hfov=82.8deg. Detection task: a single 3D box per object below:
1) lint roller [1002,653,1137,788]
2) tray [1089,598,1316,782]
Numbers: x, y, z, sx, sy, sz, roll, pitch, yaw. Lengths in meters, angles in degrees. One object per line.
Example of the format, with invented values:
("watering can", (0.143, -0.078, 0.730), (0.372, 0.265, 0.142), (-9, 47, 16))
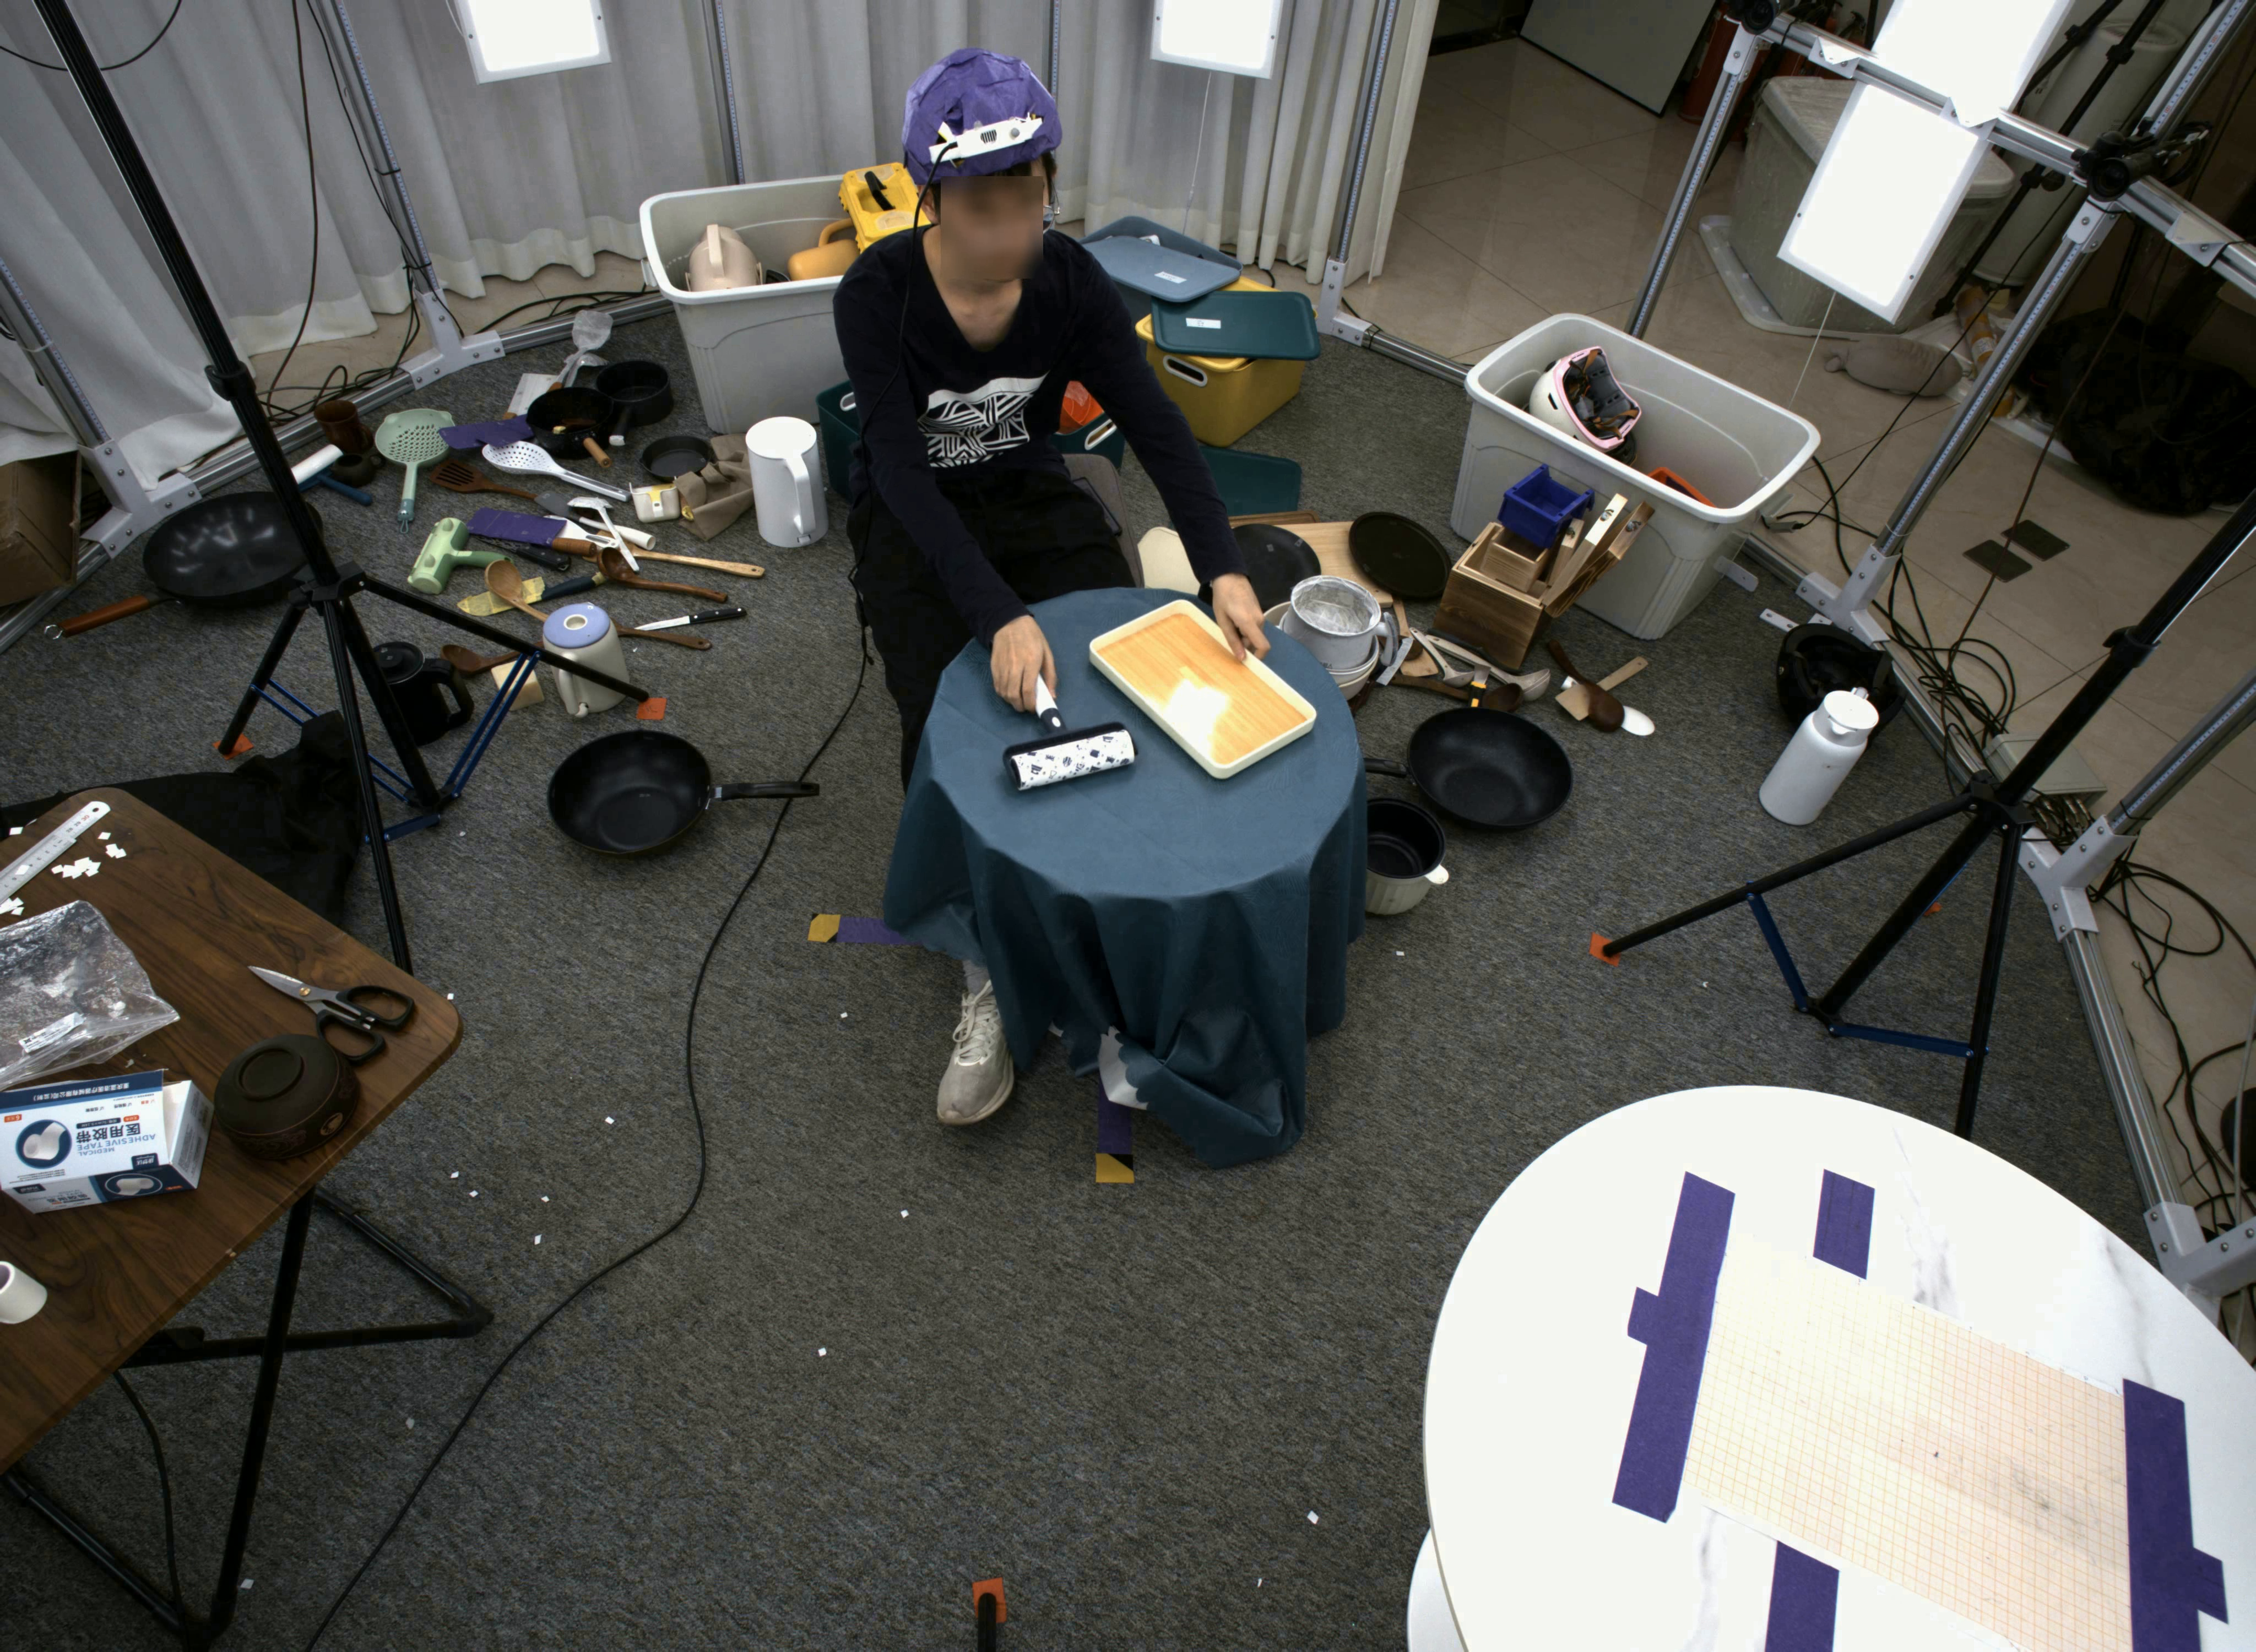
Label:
("lint roller", (-0.113, -0.162, 1.772), (0.176, 0.049, 0.253), (-15, 50, -15))
("tray", (0.102, -0.199, 1.823), (0.193, 0.027, 0.306), (-30, 58, -24))
